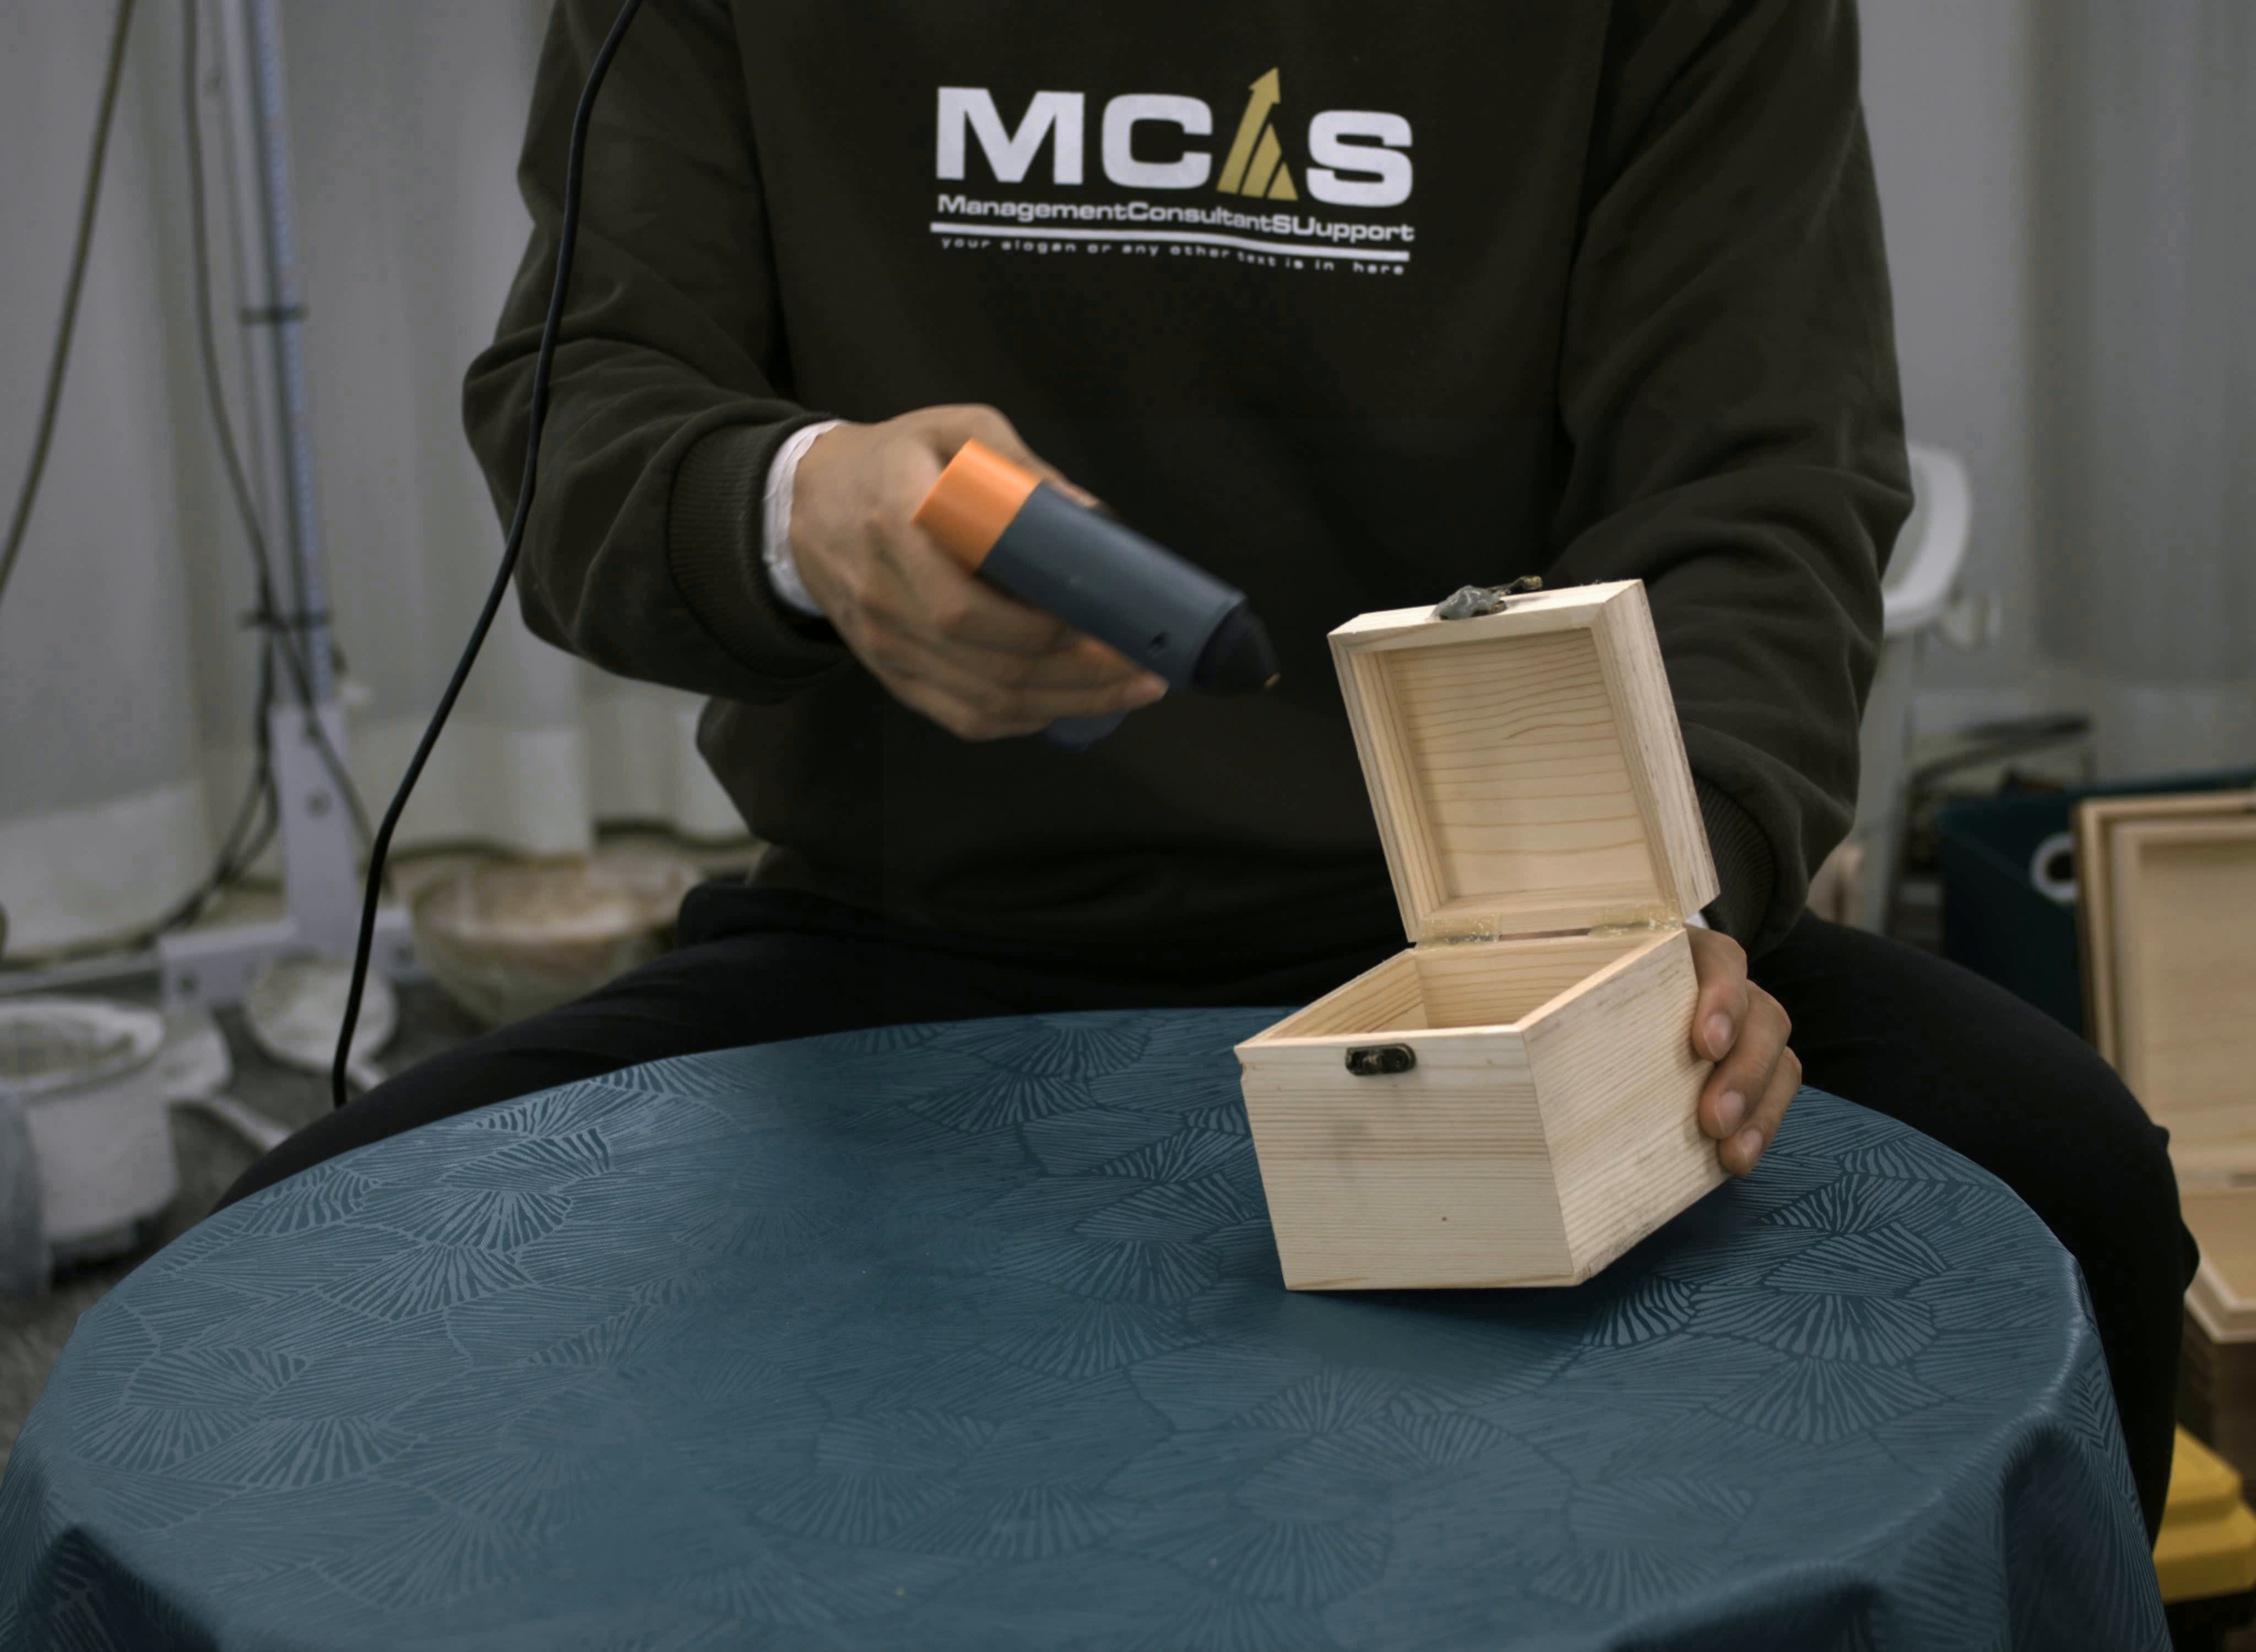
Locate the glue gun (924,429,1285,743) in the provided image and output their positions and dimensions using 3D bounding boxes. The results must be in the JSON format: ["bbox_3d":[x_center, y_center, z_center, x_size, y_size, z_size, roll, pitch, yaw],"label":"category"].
[{"bbox_3d":[-0.012,-0.067,1.691,0.118,0.041,0.139,38,-16,-2],"label":"glue gun"}]

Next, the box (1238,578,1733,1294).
[{"bbox_3d":[0.101,0.032,1.622,0.102,0.184,0.134,-6,12,35],"label":"box"}]
